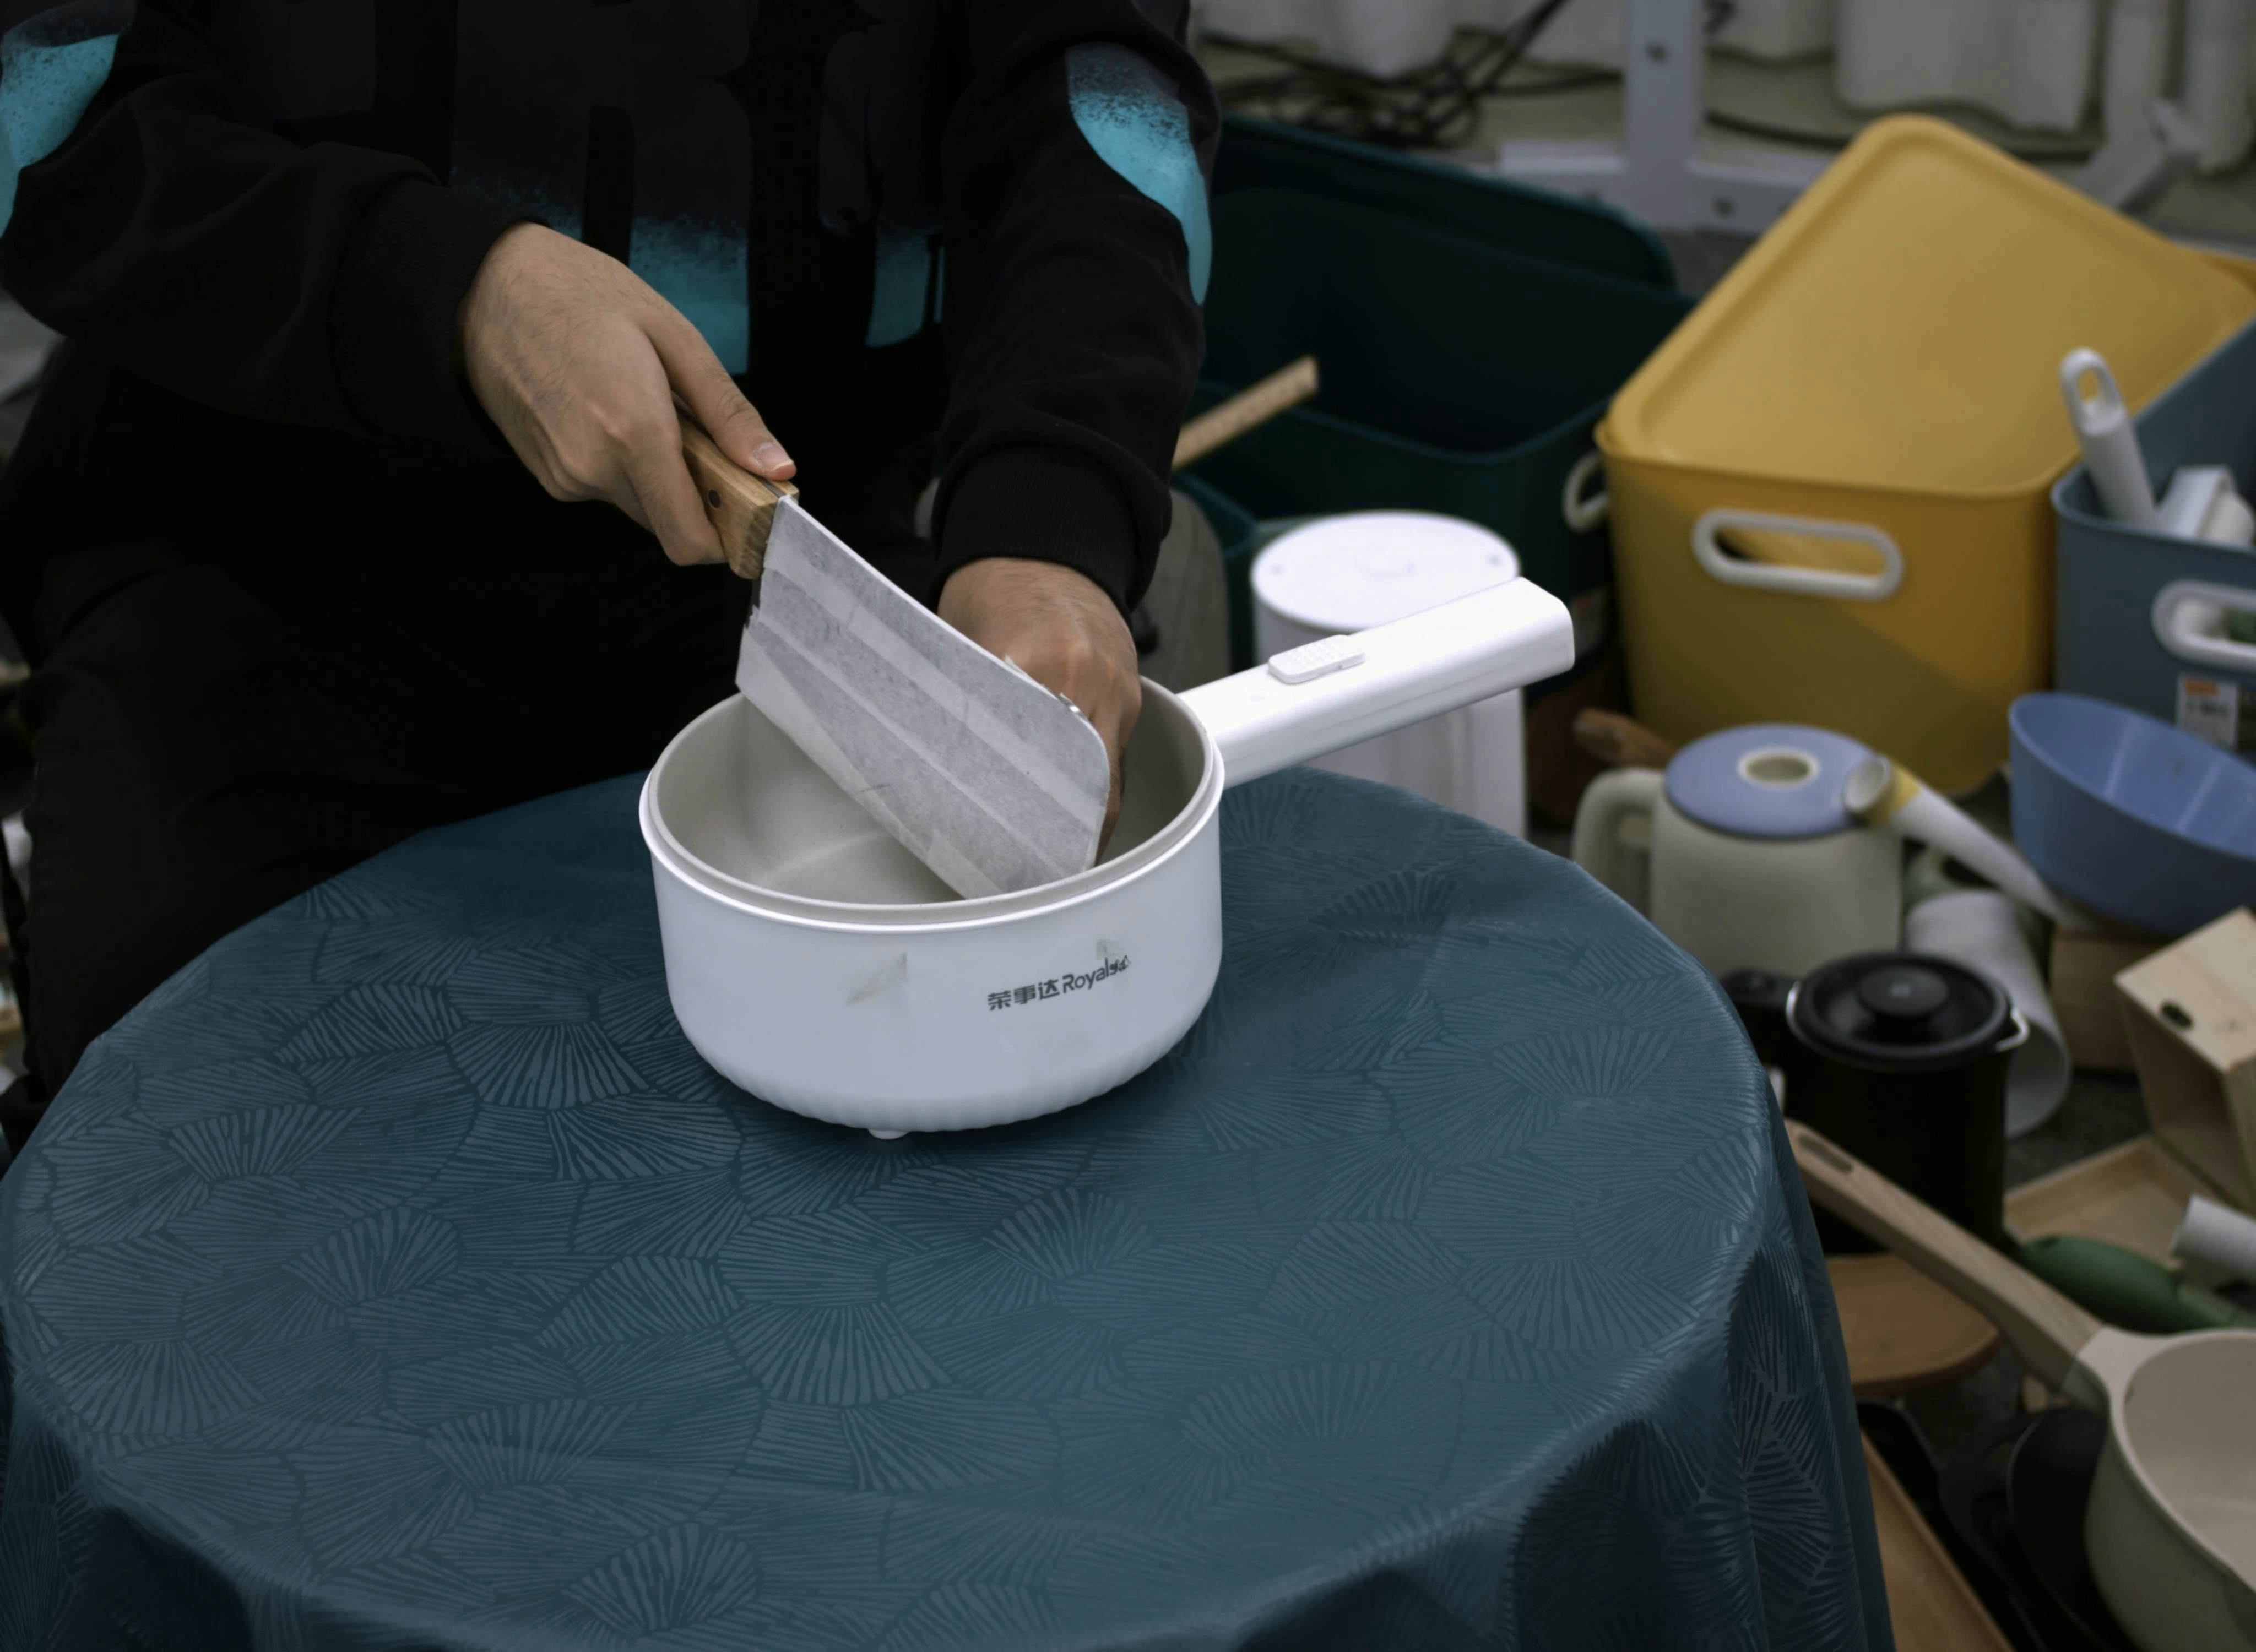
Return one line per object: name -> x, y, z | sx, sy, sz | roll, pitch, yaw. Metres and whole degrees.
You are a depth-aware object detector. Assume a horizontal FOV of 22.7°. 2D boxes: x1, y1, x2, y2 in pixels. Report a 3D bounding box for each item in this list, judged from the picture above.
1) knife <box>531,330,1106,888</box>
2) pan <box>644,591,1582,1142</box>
knife -> -0.107, -0.074, 1.941 | 0.022, 0.112, 0.317 | -19, 50, -39
pan -> 0.002, 0.007, 1.980 | 0.357, 0.101, 0.202 | -17, 28, -26
